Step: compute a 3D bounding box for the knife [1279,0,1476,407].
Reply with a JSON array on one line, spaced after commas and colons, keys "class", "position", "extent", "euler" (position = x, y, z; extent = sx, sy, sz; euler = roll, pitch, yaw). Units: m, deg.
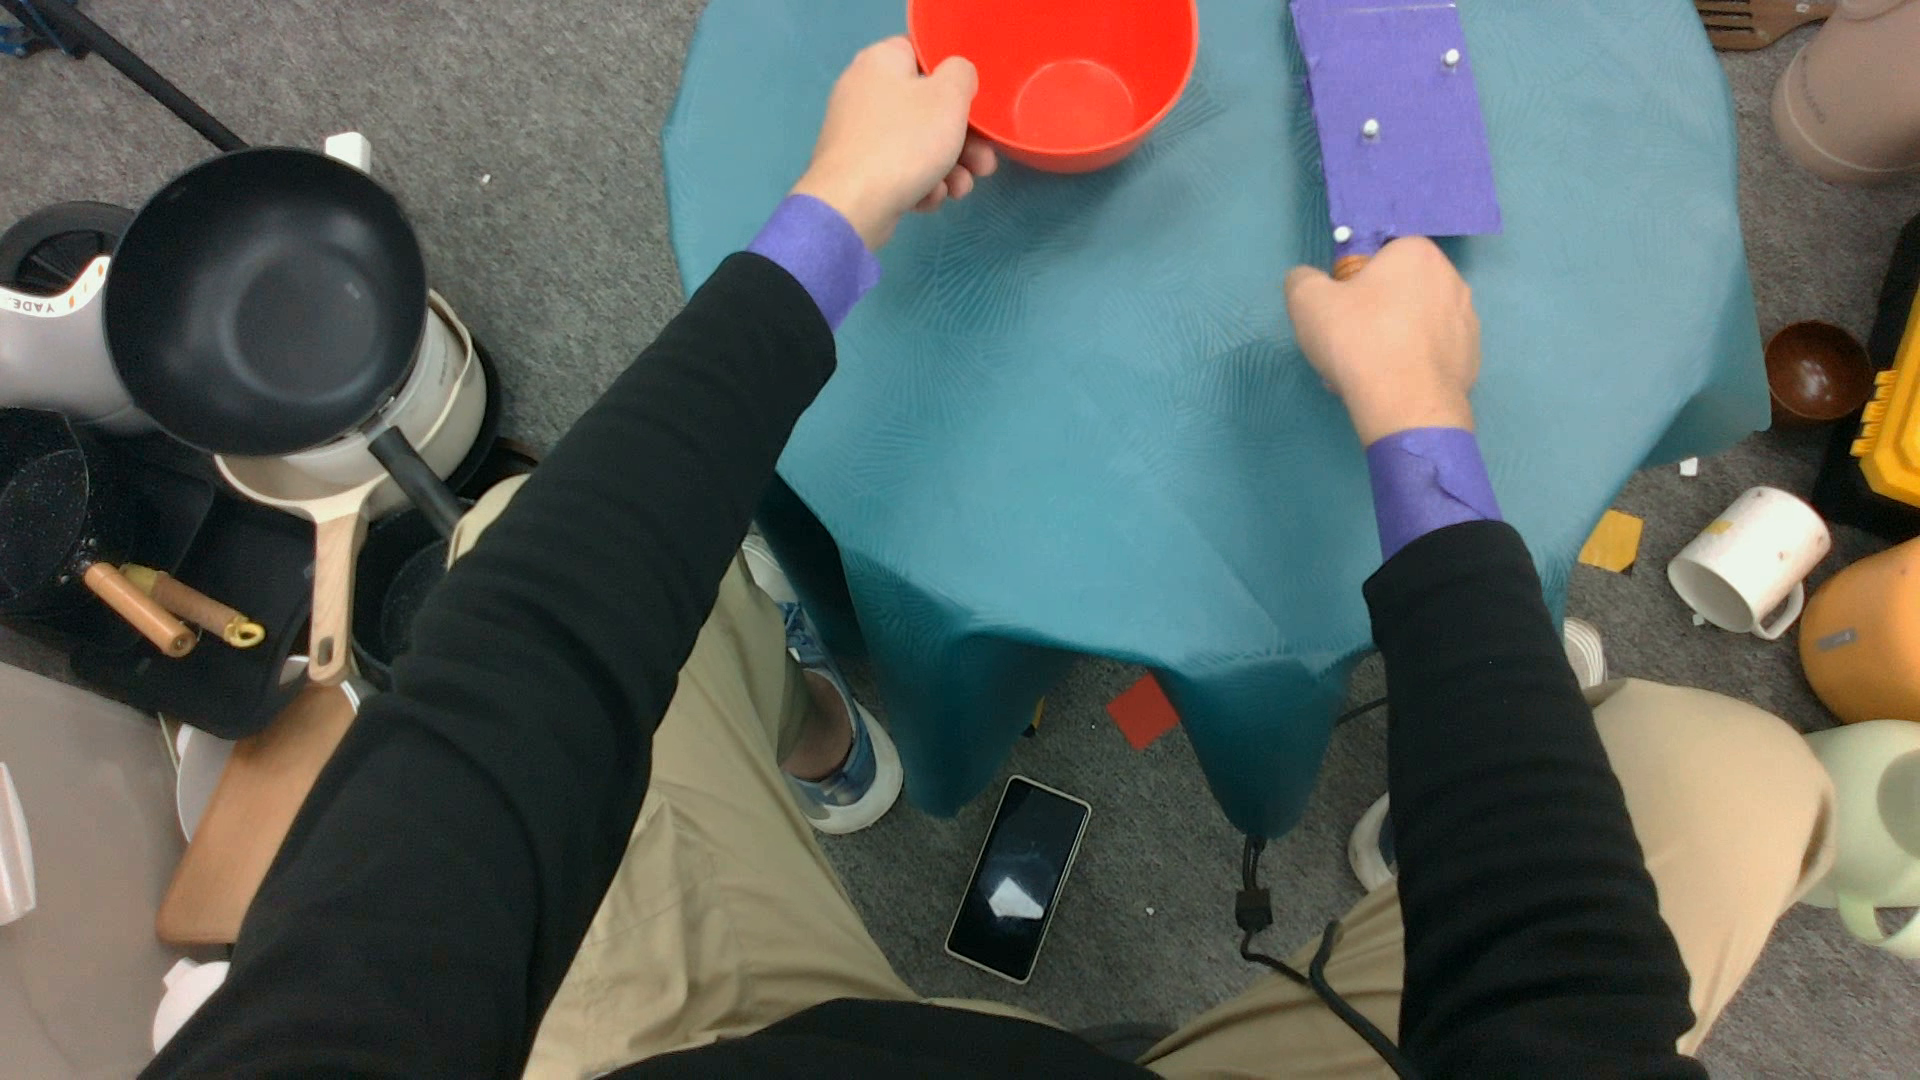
[{"class": "knife", "position": [0.227, -0.219, 0.738], "extent": [0.104, 0.032, 0.316], "euler": [-1, 70, -7]}]

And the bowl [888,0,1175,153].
[{"class": "bowl", "position": [0.040, -0.268, 0.743], "extent": [0.148, 0.104, 0.148], "euler": [-1, 76, 2]}]
